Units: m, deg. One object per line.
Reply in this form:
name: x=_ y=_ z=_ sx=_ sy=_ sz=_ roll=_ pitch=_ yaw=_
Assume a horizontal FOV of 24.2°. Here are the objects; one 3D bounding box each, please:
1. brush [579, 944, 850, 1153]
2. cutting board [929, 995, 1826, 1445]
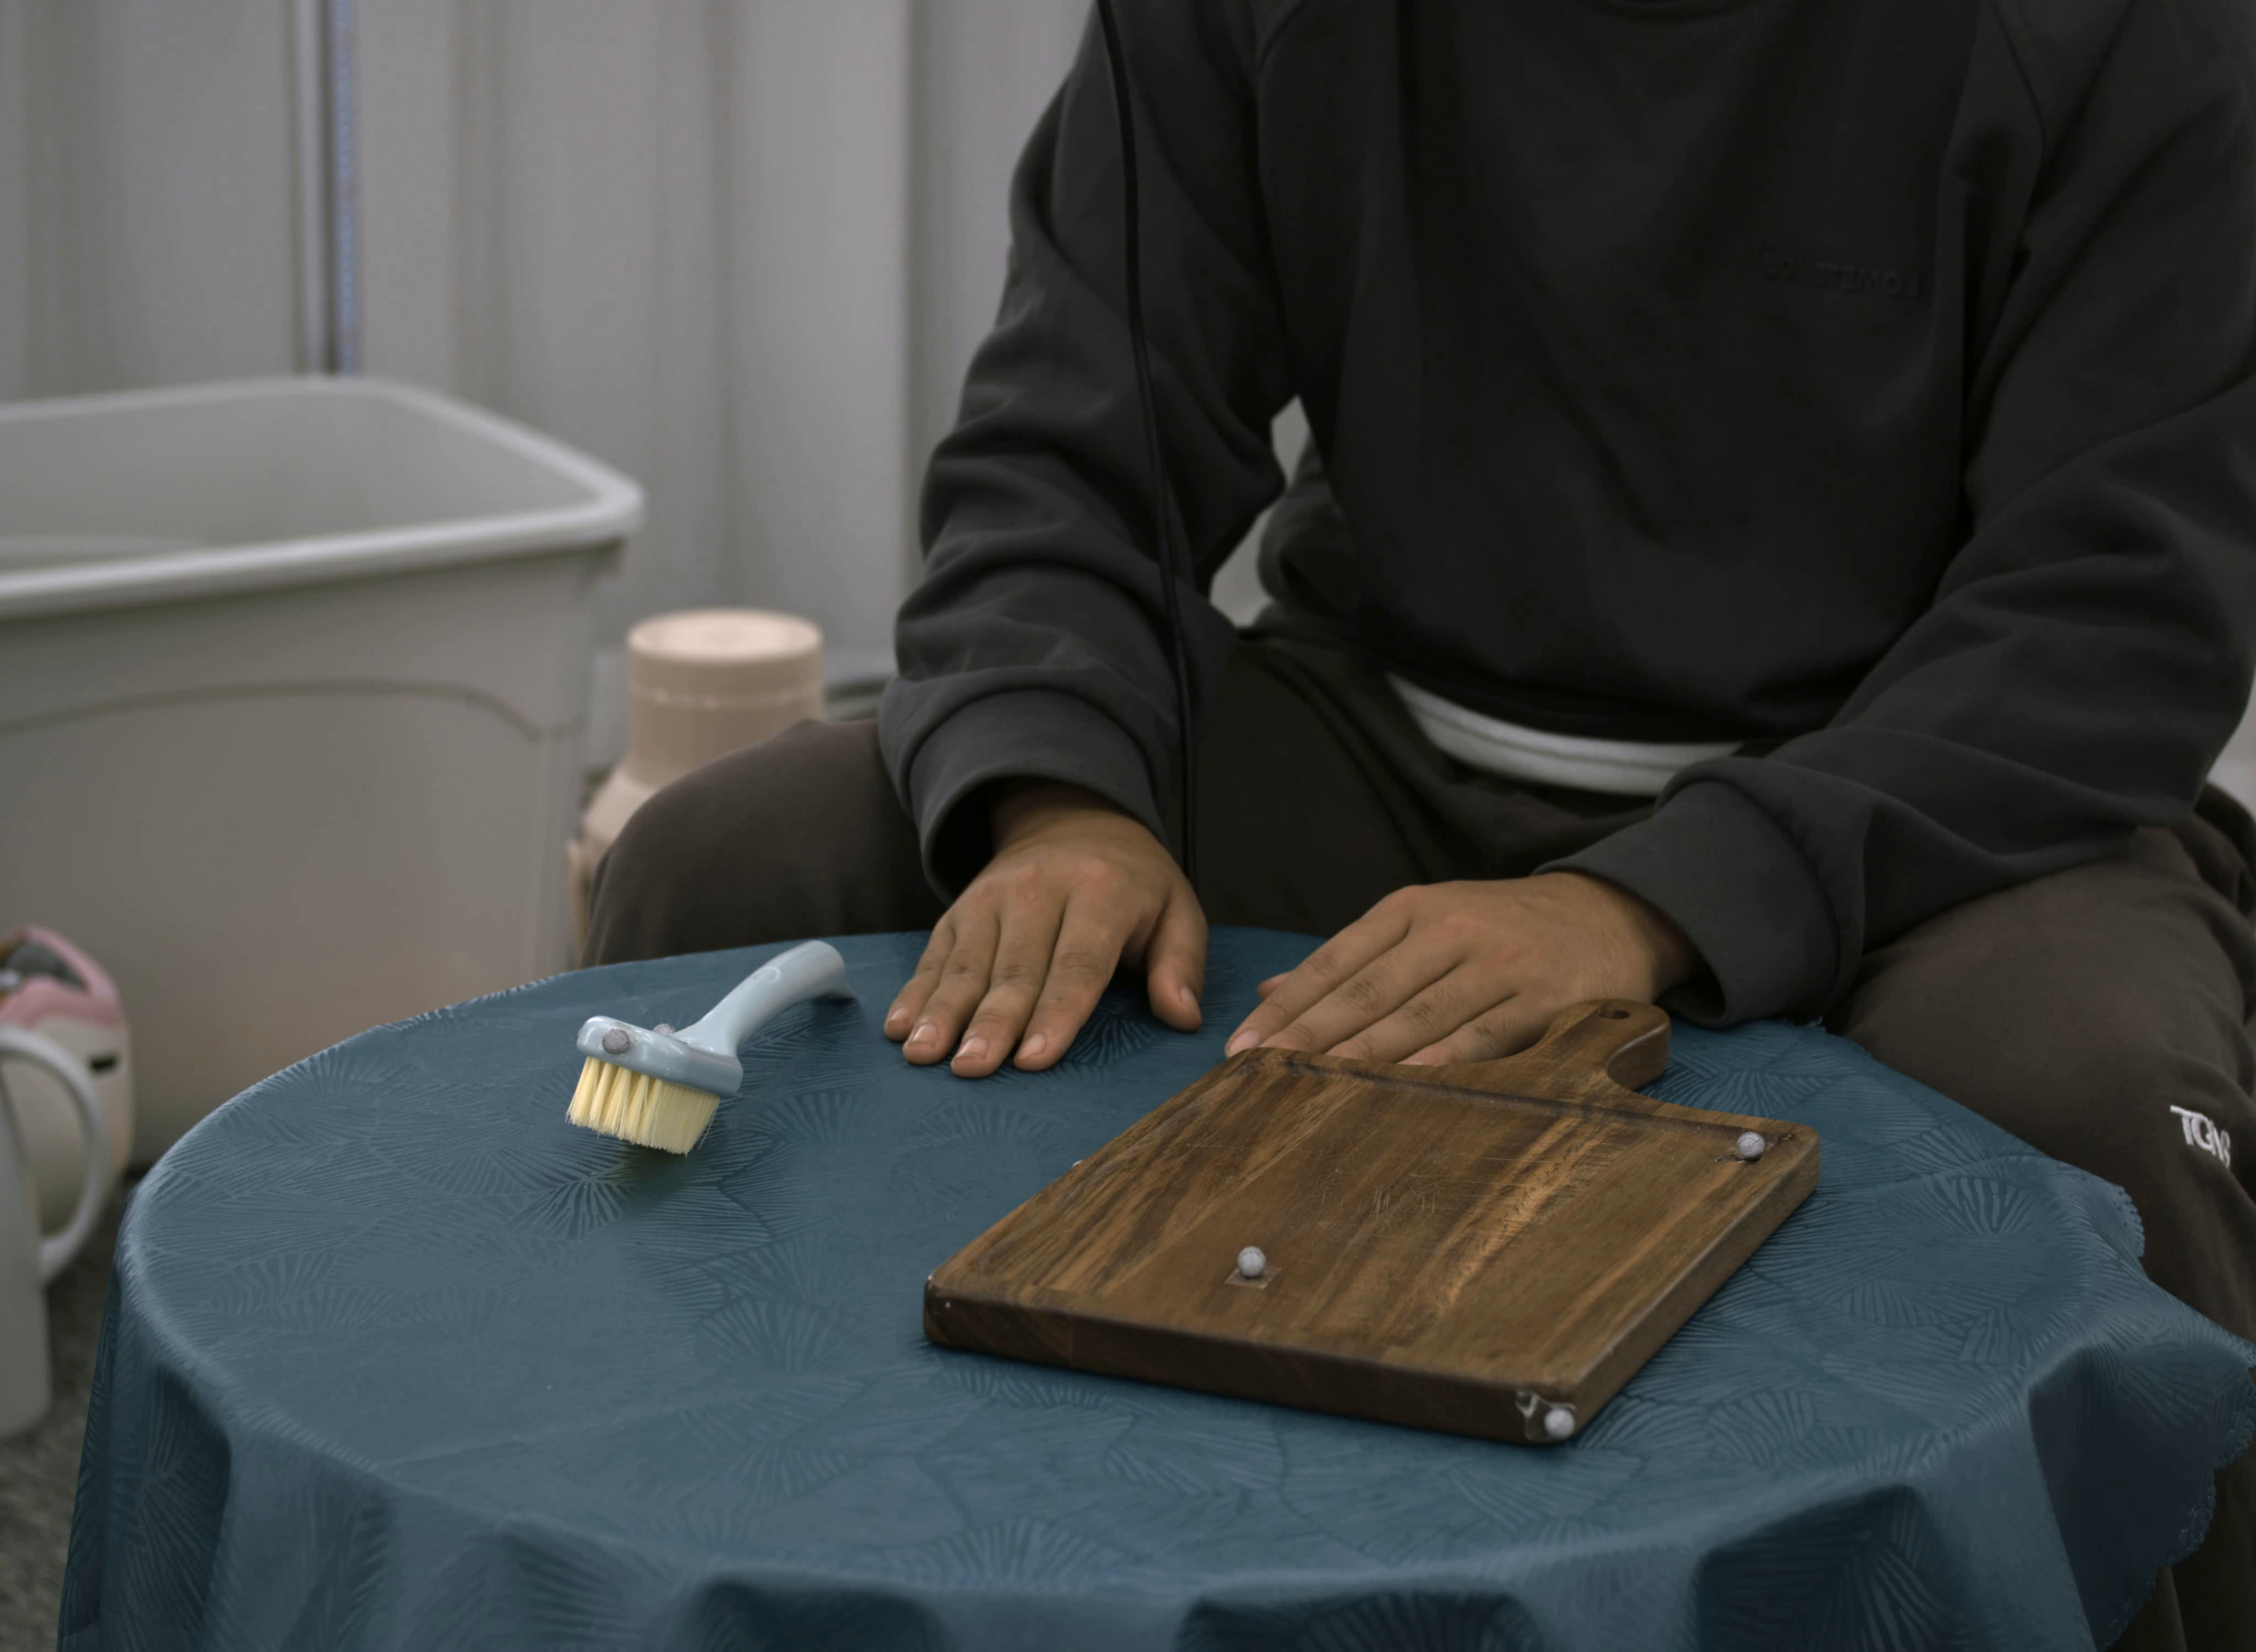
brush: x=-0.131 y=0.072 z=1.707 sx=0.037 sy=0.050 sz=0.229 roll=16 pitch=10 yaw=10
cutting board: x=0.100 y=0.108 z=1.609 sx=0.199 sy=0.023 sz=0.353 roll=8 pitch=17 yaw=23
